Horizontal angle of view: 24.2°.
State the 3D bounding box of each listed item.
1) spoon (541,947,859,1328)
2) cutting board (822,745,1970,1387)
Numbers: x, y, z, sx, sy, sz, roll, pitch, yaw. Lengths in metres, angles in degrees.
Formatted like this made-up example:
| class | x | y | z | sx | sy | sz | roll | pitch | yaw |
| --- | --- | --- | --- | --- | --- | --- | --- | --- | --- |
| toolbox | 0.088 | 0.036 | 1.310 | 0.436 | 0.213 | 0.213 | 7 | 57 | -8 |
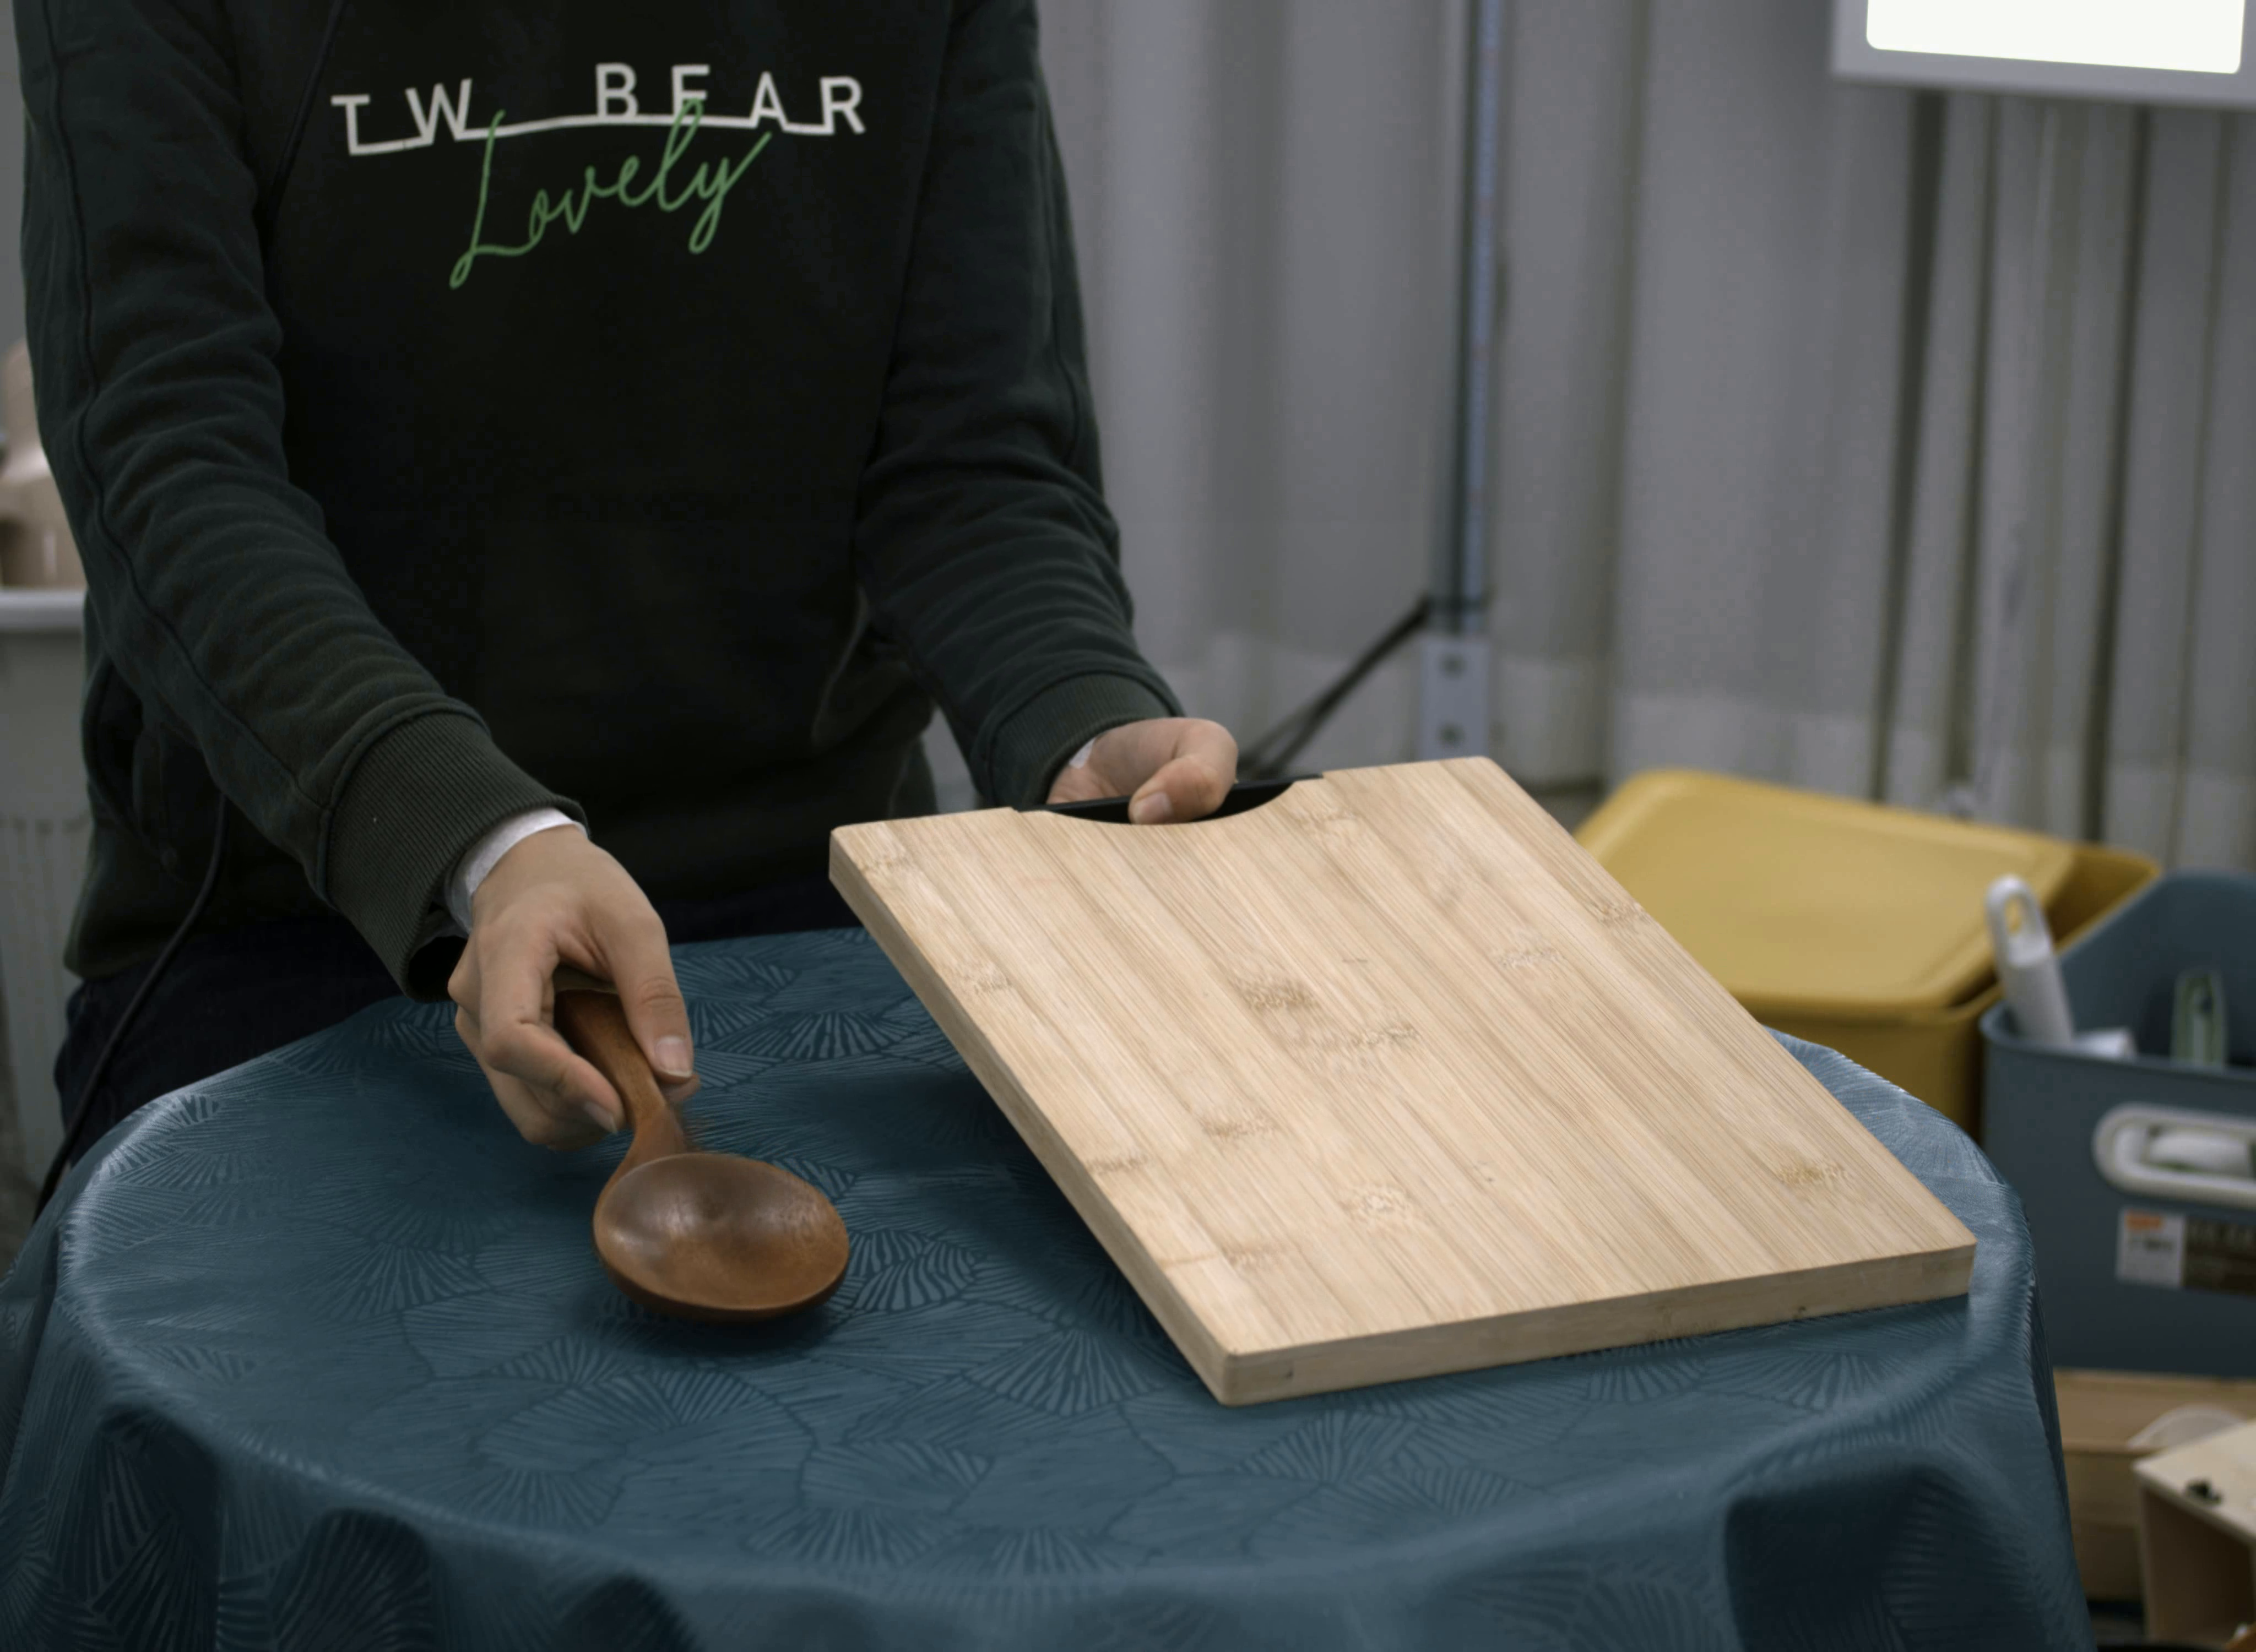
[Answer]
| class | x | y | z | sx | sy | sz | roll | pitch | yaw |
| --- | --- | --- | --- | --- | --- | --- | --- | --- | --- |
| spoon | -0.138 | 0.093 | 1.573 | 0.075 | 0.017 | 0.213 | -7 | 31 | -19 |
| cutting board | 0.073 | 0.066 | 1.638 | 0.251 | 0.024 | 0.344 | -6 | 28 | -23 |
